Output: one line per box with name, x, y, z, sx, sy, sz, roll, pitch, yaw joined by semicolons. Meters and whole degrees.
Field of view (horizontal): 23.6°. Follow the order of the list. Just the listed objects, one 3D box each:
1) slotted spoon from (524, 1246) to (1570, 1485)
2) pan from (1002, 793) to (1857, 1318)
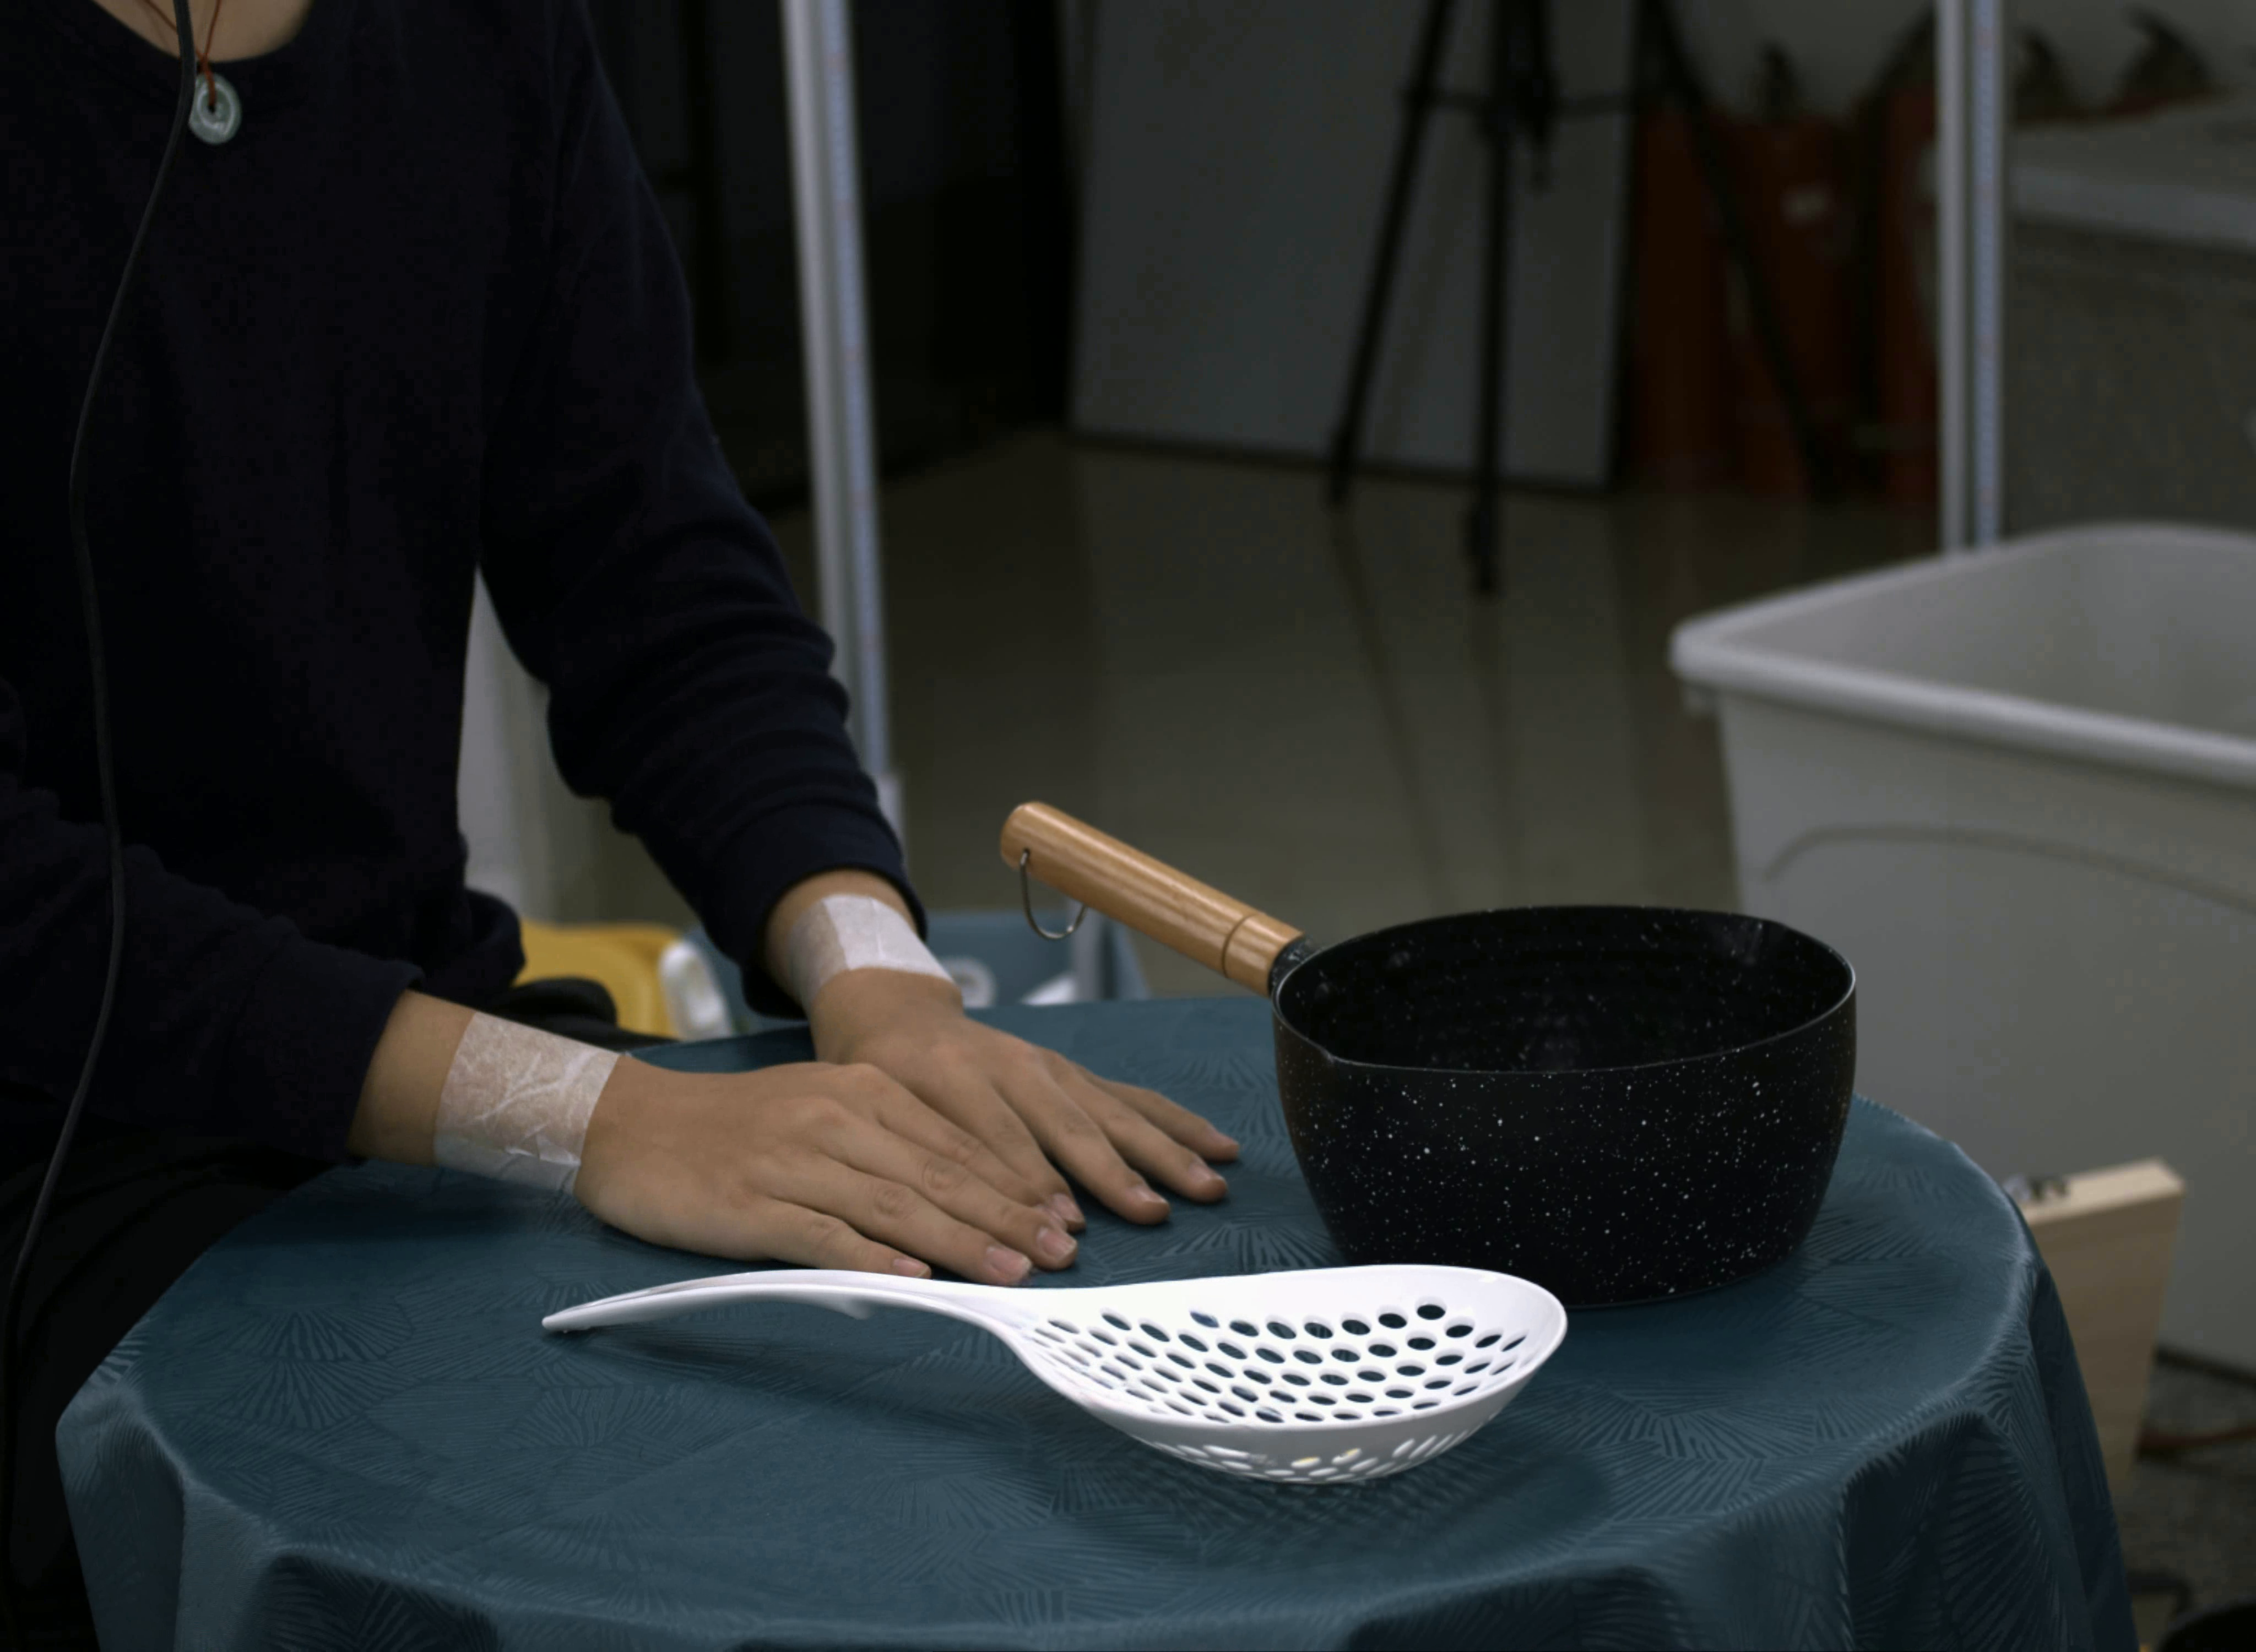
slotted spoon;-0.034;0.150;1.572;0.349;0.051;0.134;7;19;33
pan;0.081;0.067;1.740;0.203;0.109;0.346;-18;21;-42
